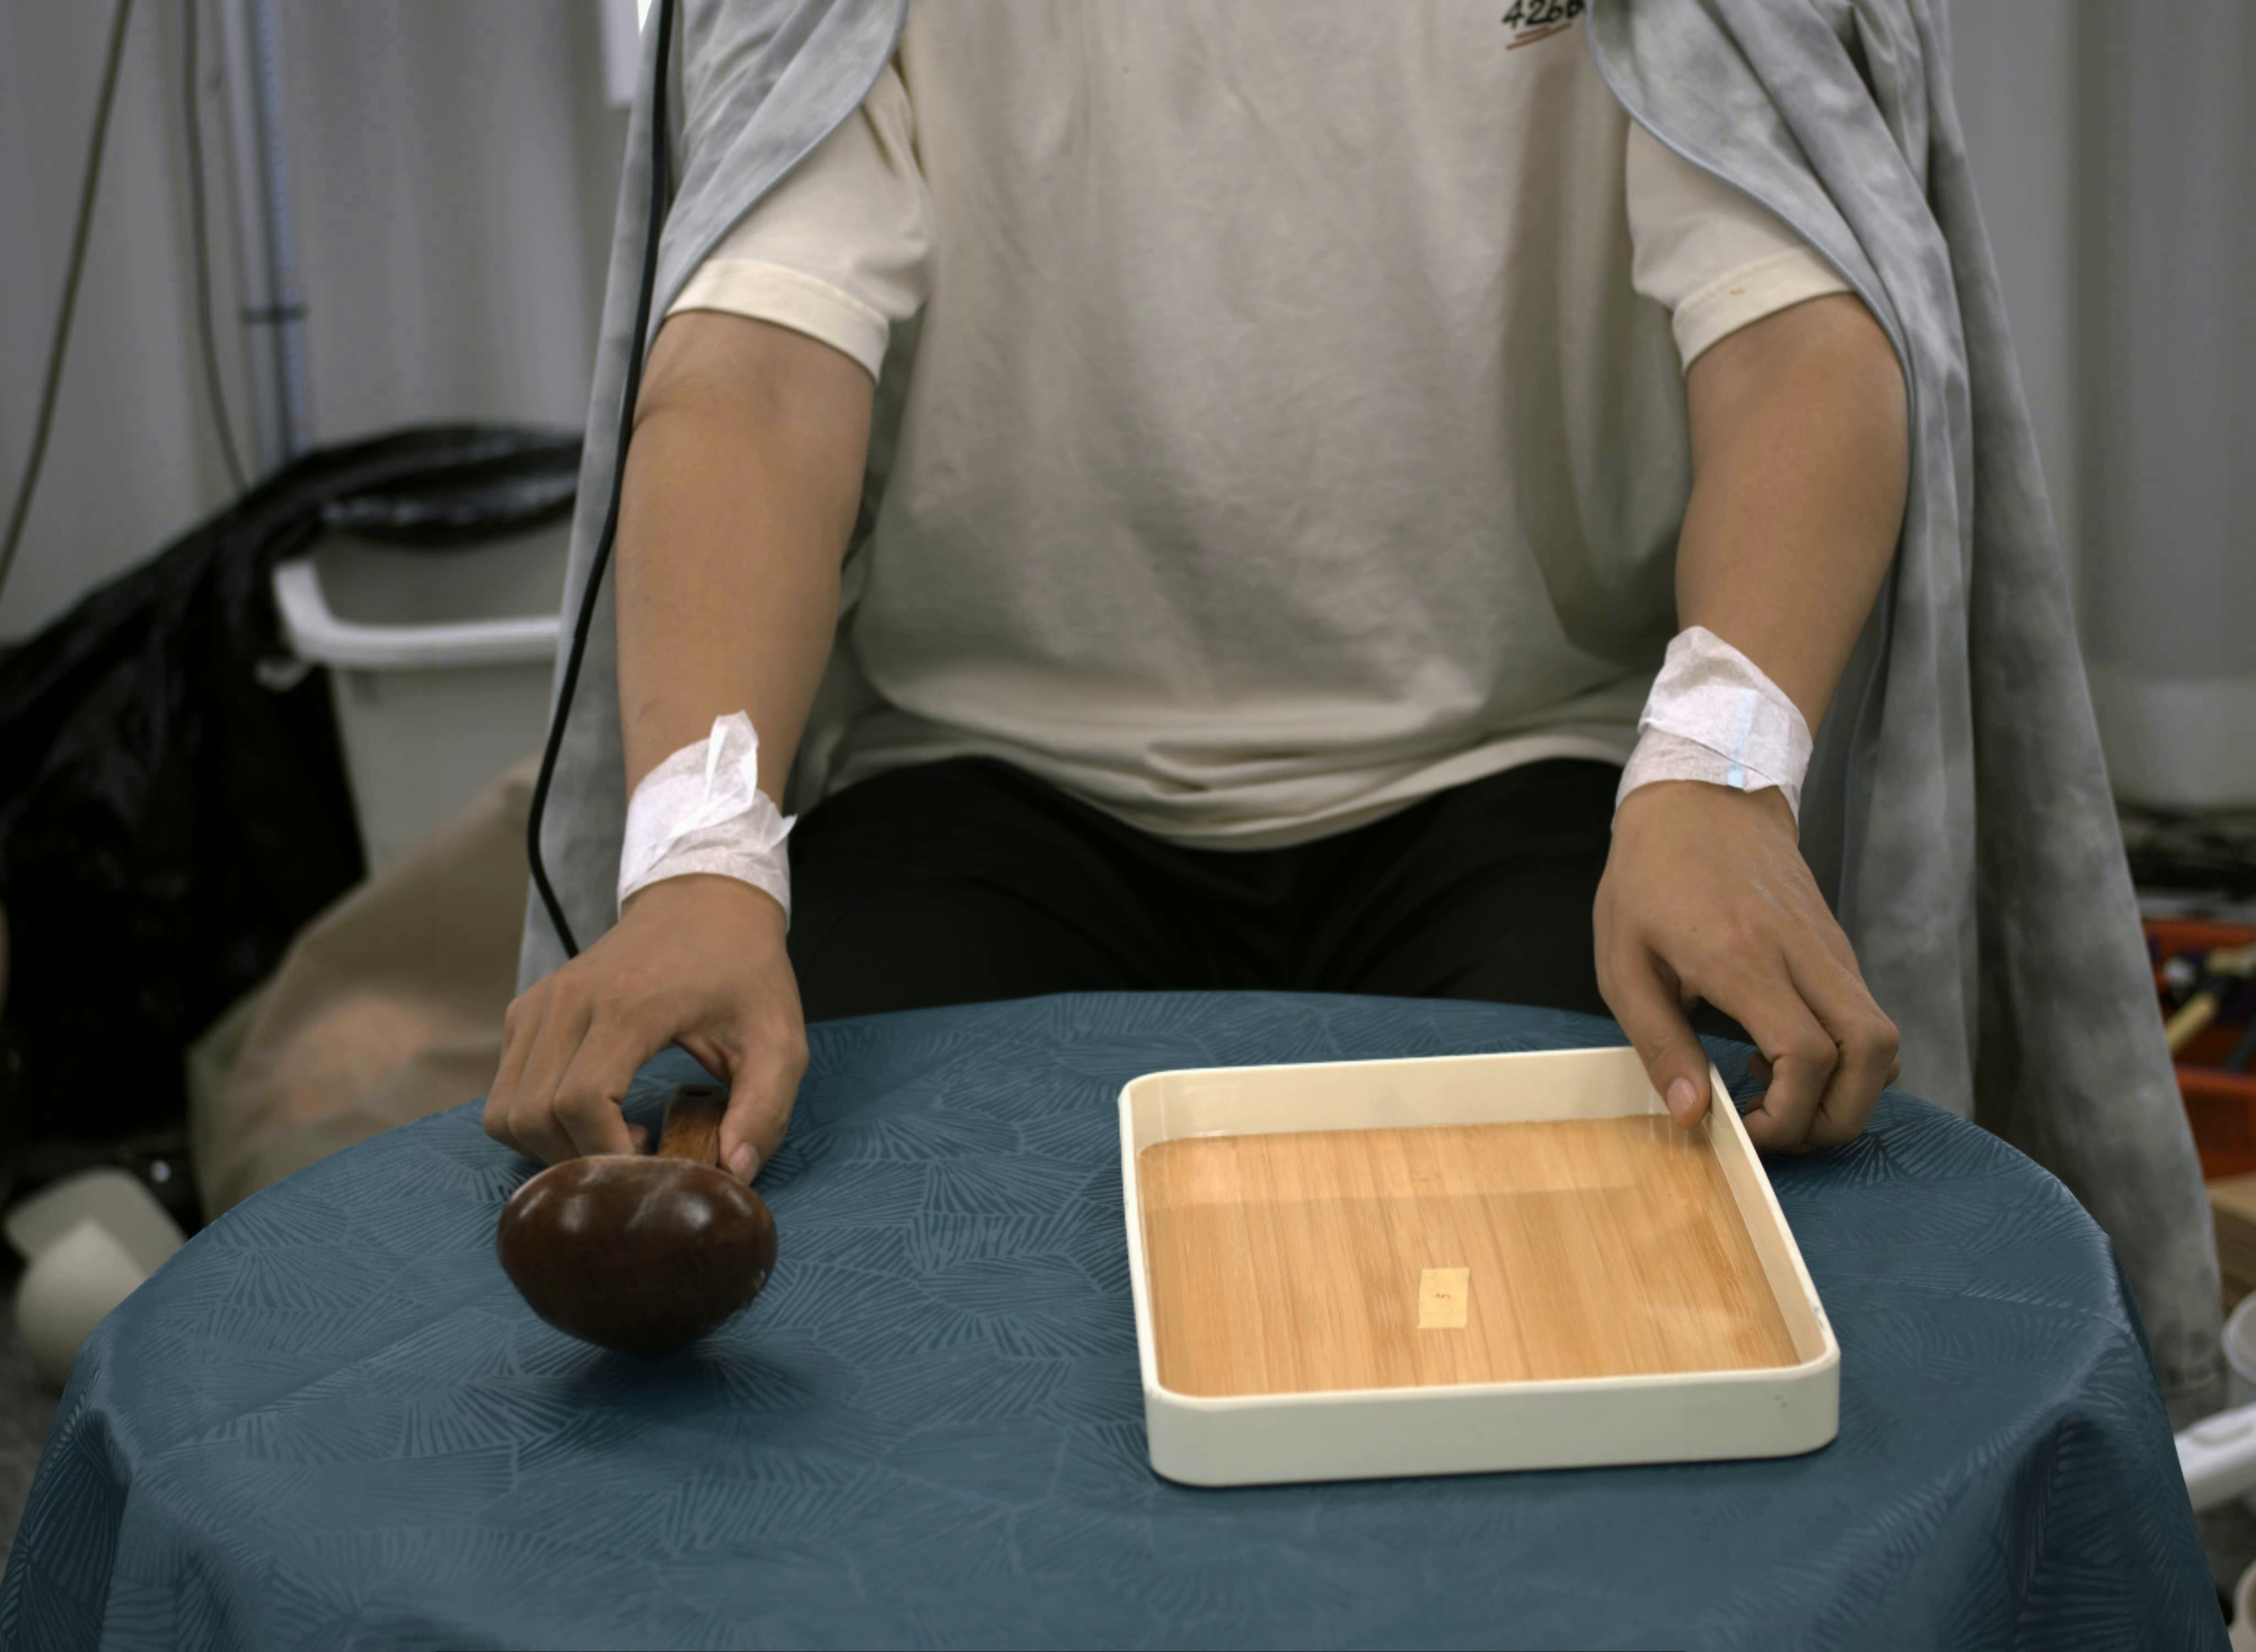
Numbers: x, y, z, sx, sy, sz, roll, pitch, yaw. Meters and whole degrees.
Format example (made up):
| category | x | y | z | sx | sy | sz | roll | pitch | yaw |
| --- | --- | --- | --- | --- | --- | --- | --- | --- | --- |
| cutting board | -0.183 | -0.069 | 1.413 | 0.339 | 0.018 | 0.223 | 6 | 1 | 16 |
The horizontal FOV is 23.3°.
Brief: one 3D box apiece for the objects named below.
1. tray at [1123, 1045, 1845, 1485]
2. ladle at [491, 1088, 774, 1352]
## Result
| category | x | y | z | sx | sy | sz | roll | pitch | yaw |
| --- | --- | --- | --- | --- | --- | --- | --- | --- | --- |
| tray | 0.097 | 0.125 | 1.610 | 0.191 | 0.027 | 0.302 | -3 | 15 | 0 |
| ladle | -0.139 | 0.095 | 1.670 | 0.081 | 0.076 | 0.276 | 4 | 15 | 1 |
